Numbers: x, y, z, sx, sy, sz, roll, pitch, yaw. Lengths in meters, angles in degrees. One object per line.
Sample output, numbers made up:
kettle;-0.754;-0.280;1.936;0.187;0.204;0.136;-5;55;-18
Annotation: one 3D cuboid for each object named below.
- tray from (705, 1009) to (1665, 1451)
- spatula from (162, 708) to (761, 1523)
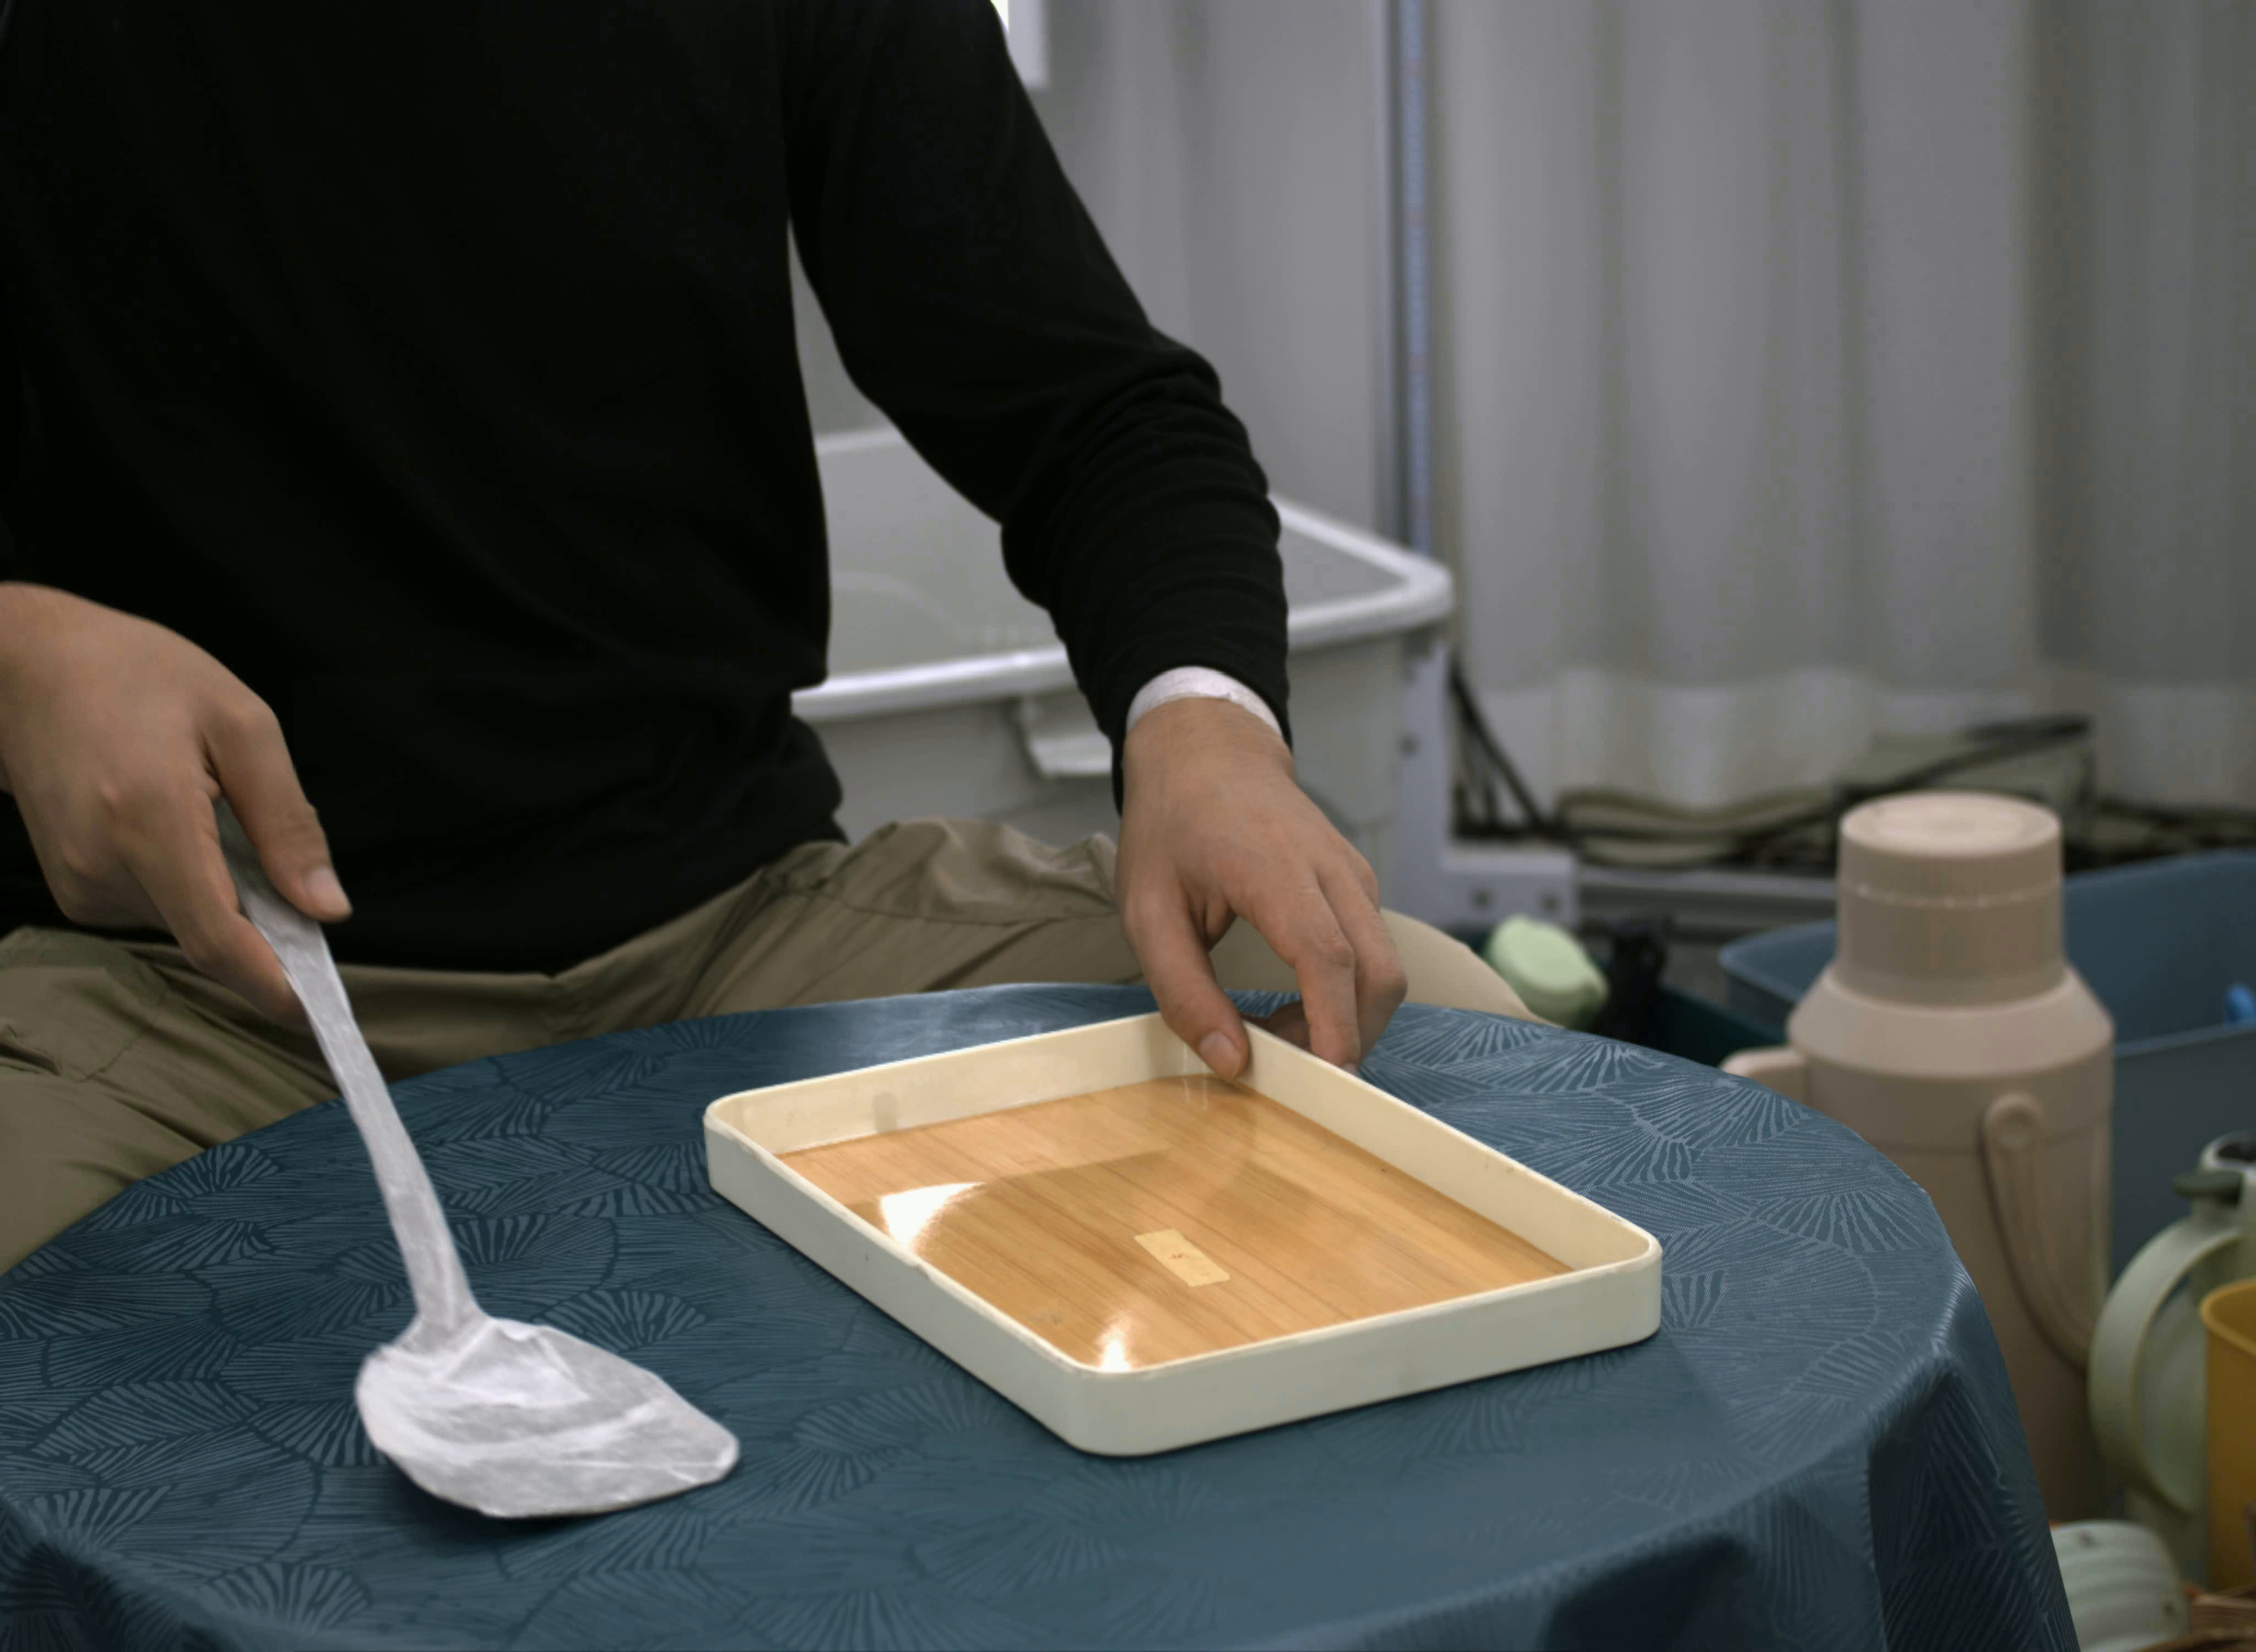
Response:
tray;0.010;0.117;1.651;0.191;0.027;0.302;-10;16;-24
spatula;-0.217;0.074;1.587;0.098;0.044;0.370;-6;46;-30
